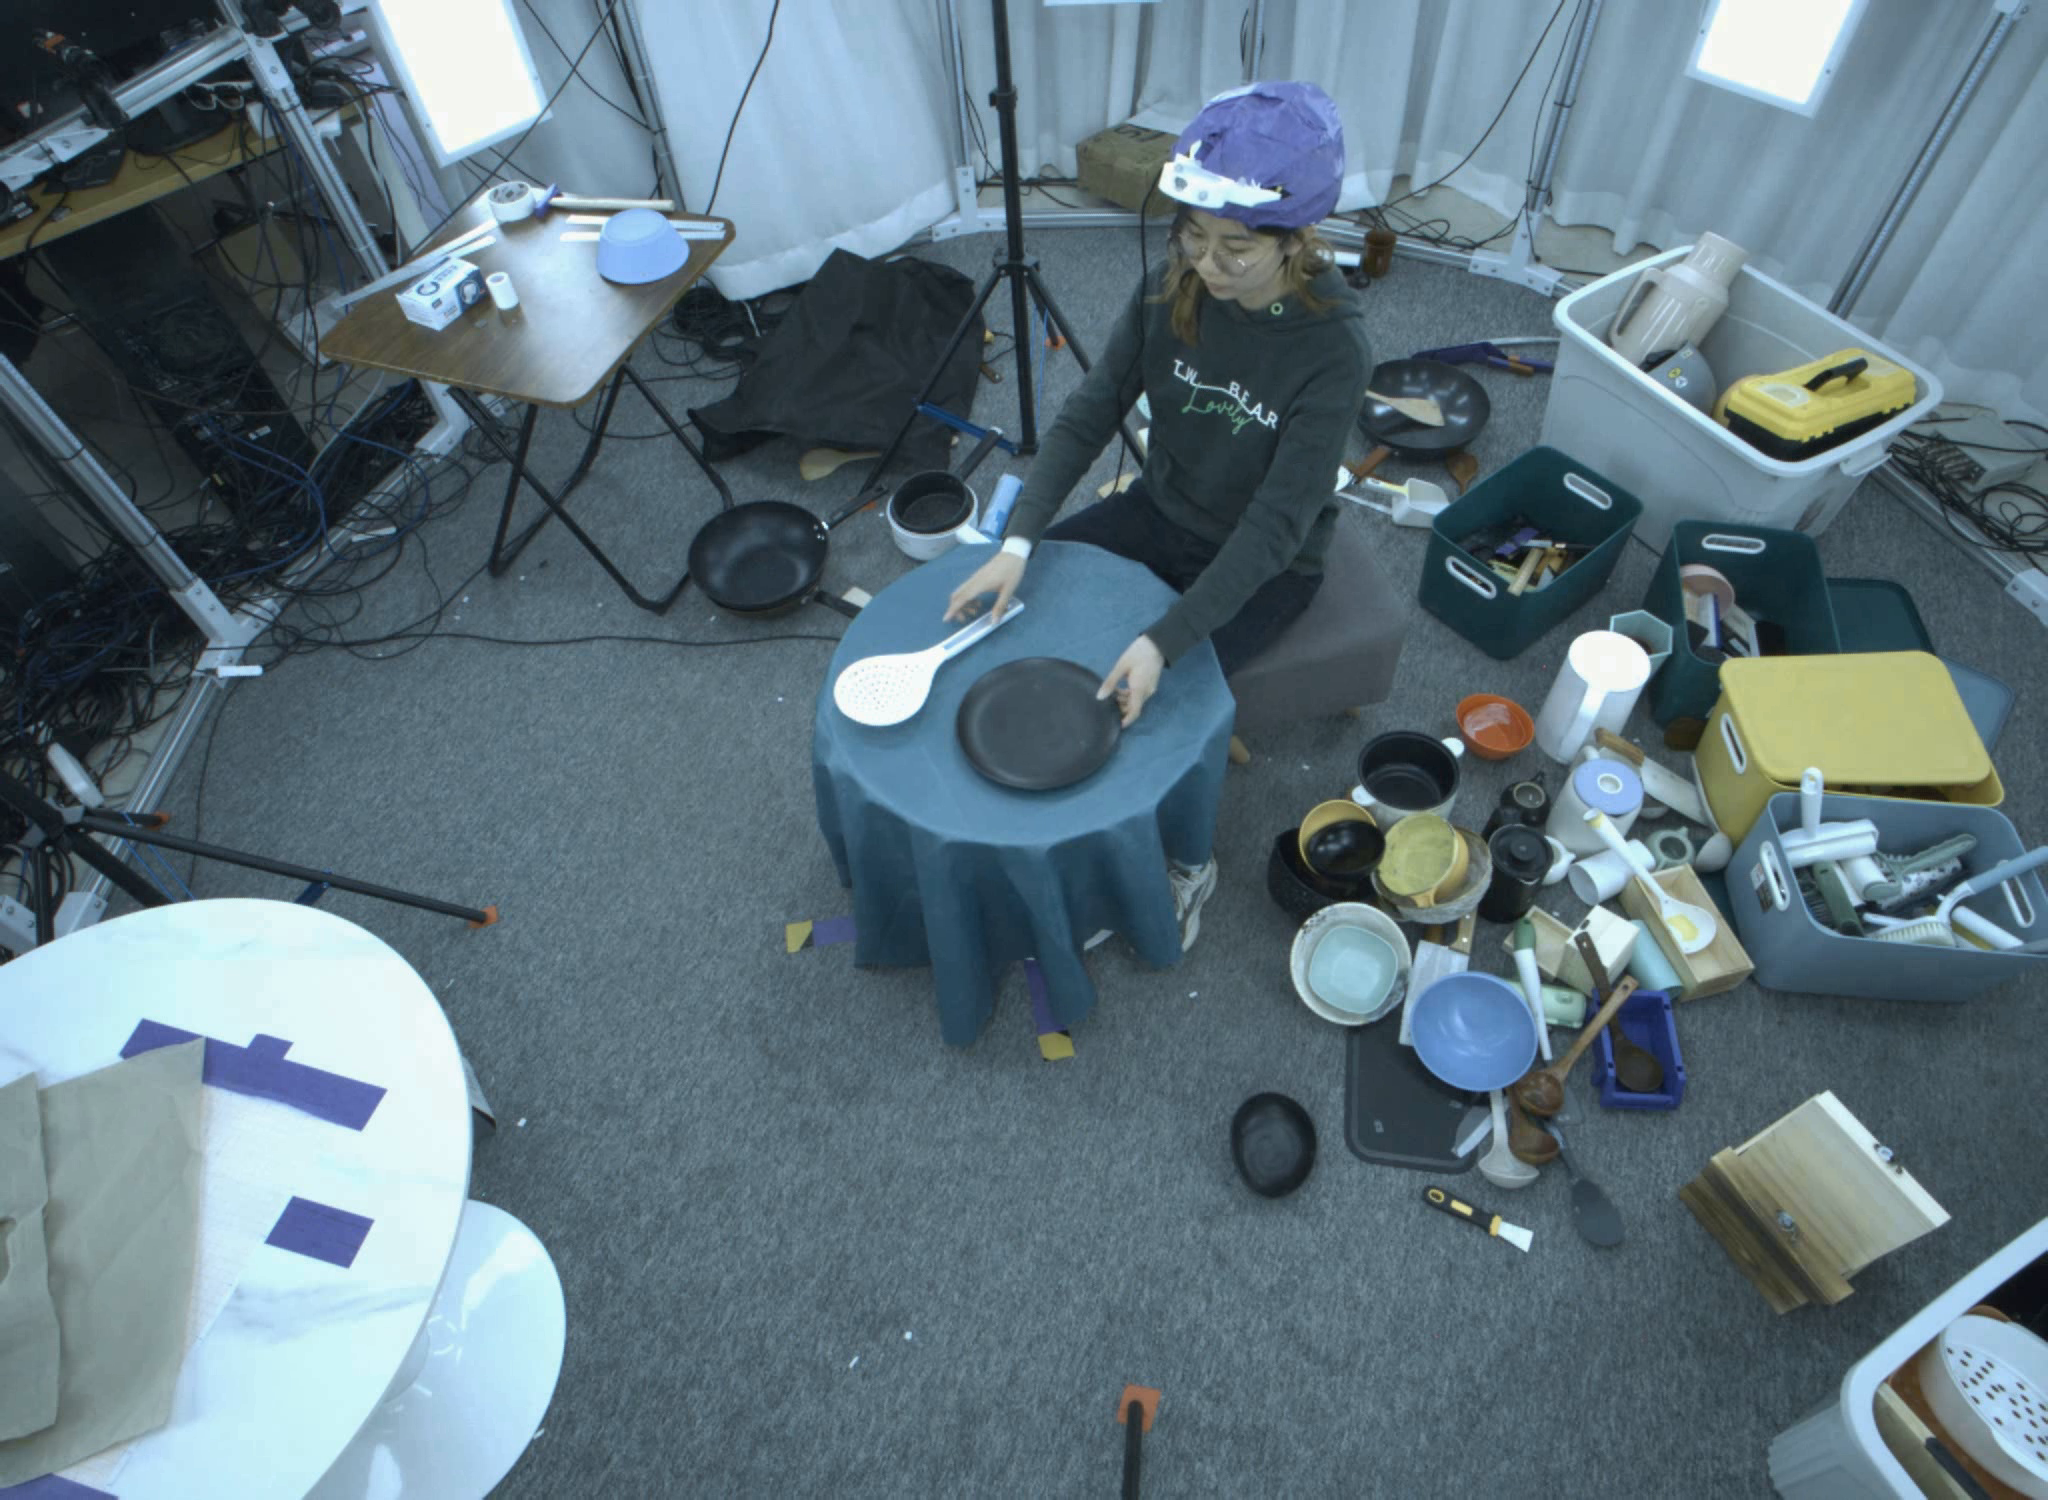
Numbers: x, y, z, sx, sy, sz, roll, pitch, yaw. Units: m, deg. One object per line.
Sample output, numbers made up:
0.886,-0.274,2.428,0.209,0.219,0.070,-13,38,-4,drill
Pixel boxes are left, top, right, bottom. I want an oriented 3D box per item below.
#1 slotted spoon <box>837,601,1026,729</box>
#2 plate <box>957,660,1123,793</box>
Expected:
-0.131,-0.137,1.870,0.352,0.046,0.134,-38,64,-23,slotted spoon
0.024,-0.033,1.806,0.244,0.024,0.242,0,55,2,plate
